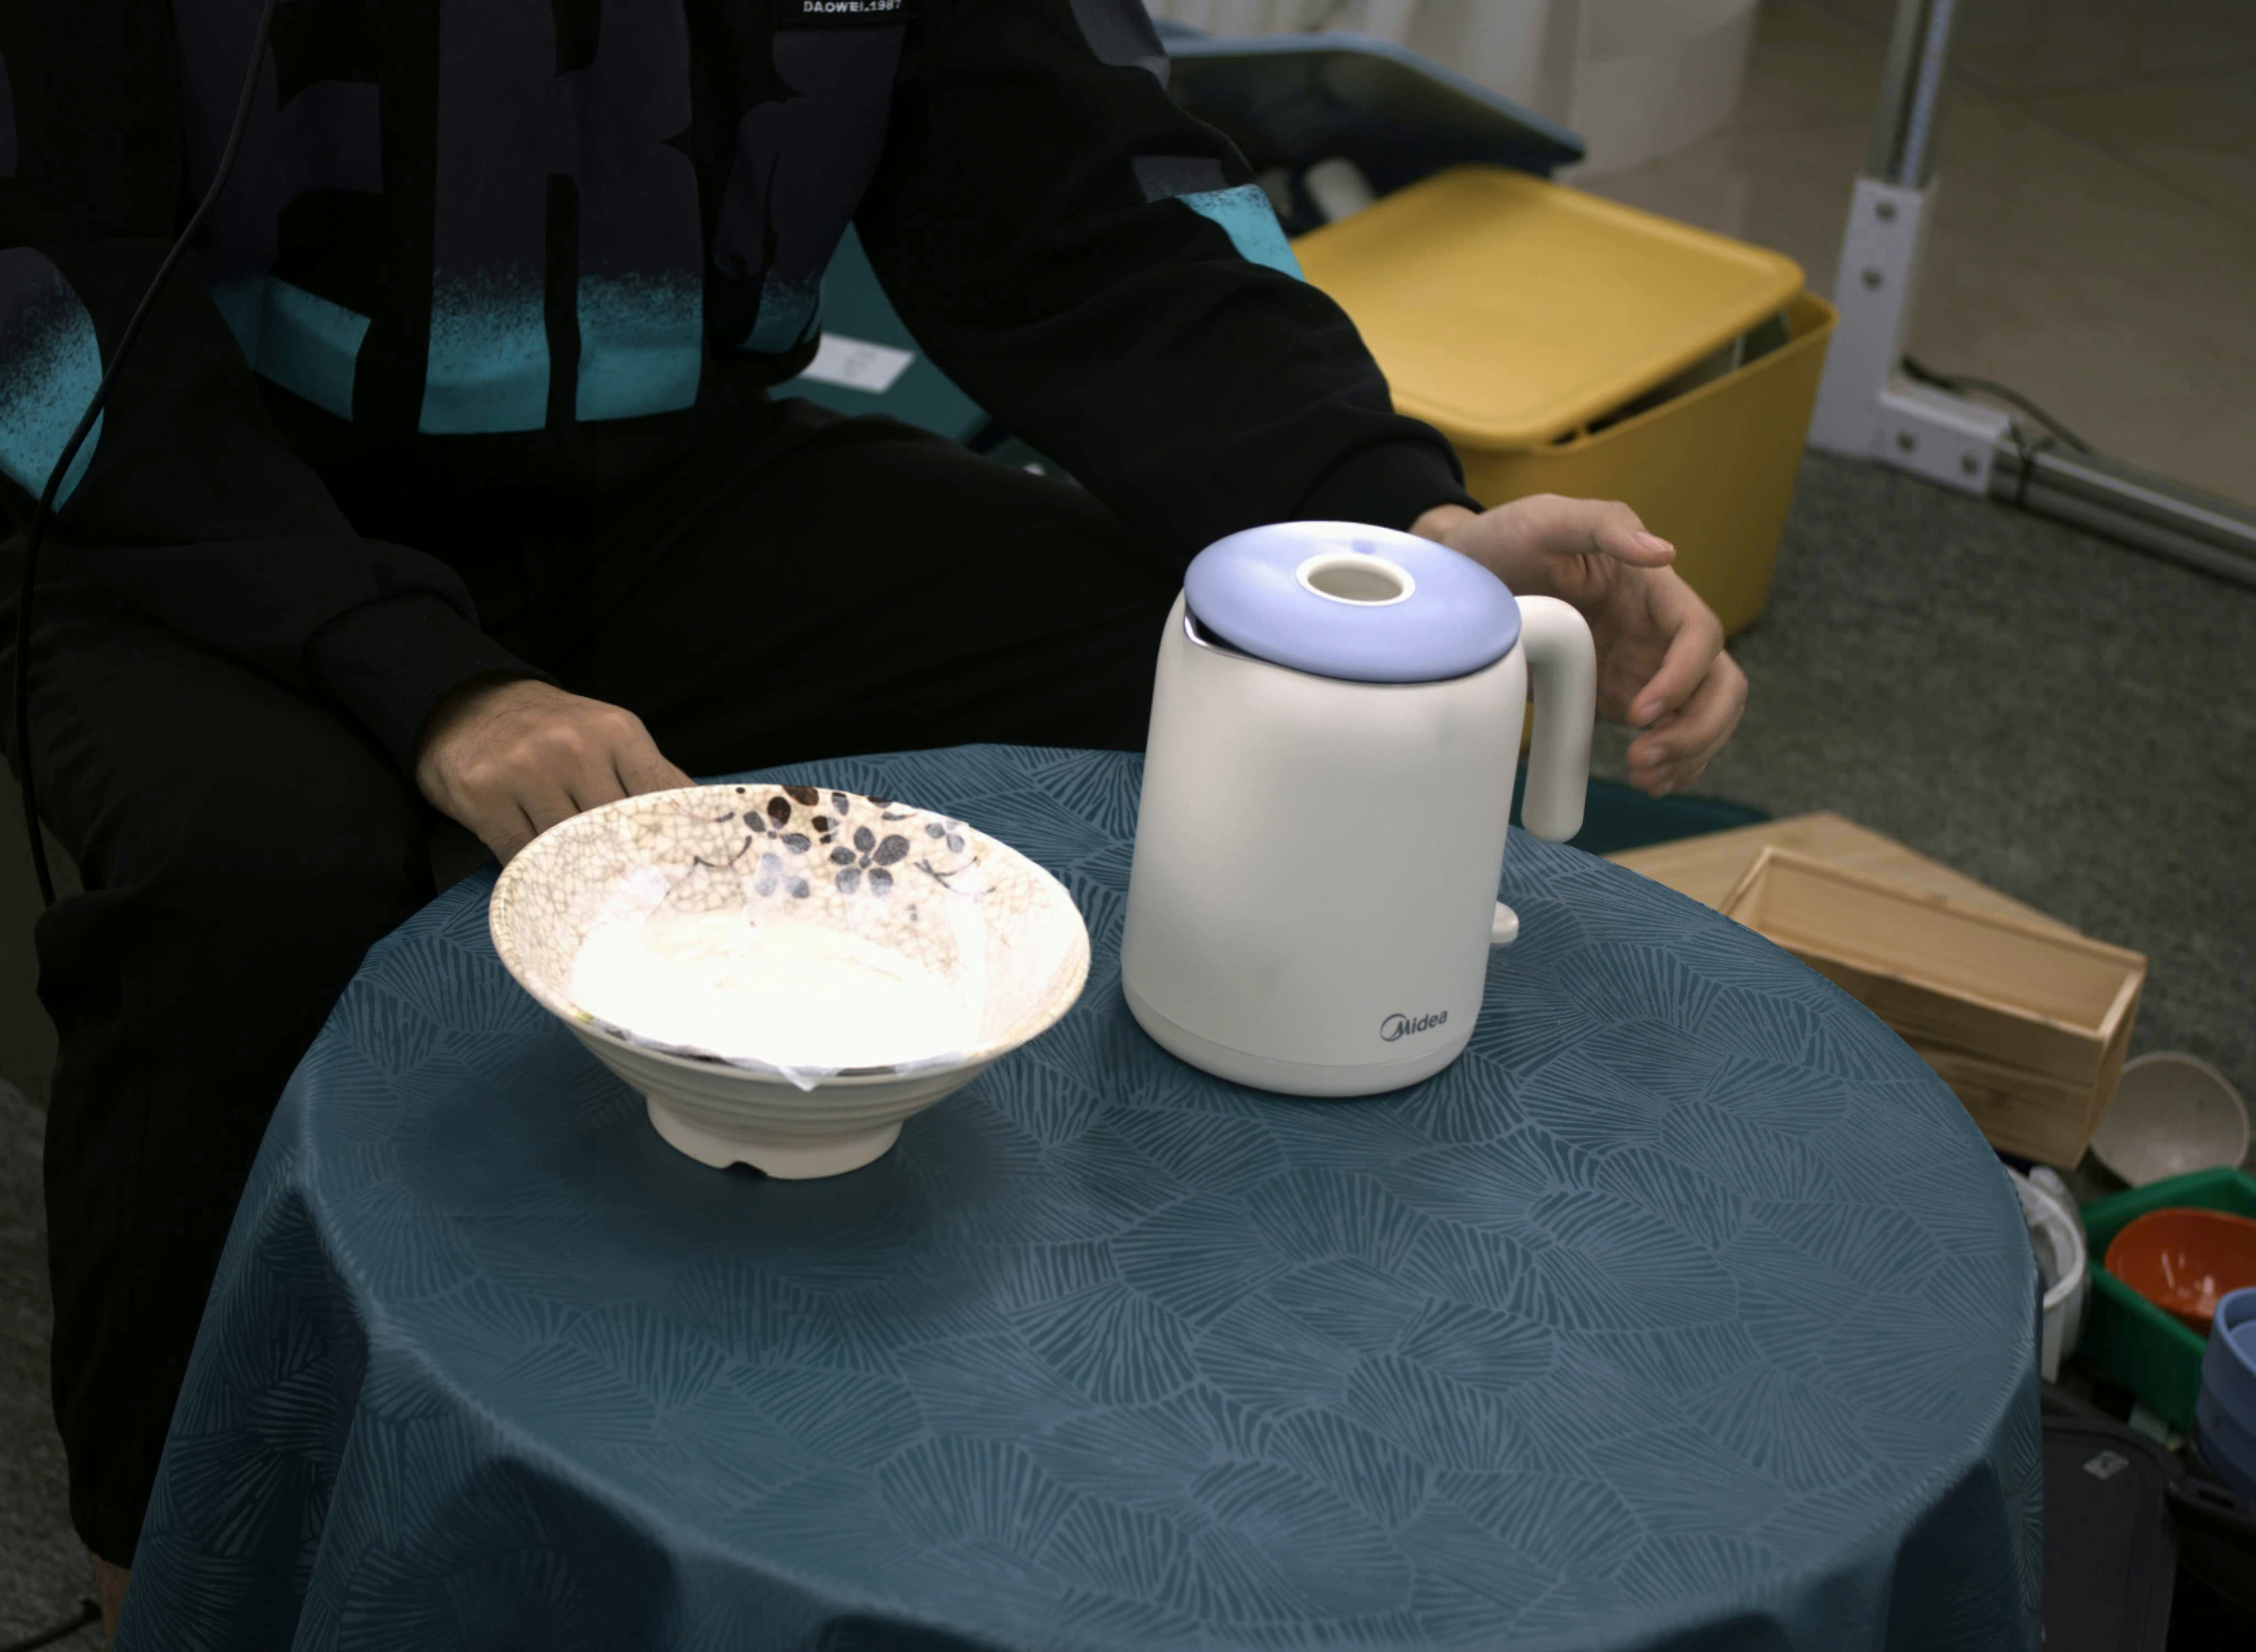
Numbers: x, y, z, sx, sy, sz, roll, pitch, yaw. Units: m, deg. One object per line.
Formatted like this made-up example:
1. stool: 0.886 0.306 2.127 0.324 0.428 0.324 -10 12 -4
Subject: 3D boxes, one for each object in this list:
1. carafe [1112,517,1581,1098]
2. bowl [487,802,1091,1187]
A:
1. carafe: 0.087 -0.011 1.896 0.190 0.182 0.133 -11 33 -36
2. bowl: -0.116 0.068 1.801 0.203 0.078 0.205 4 24 -2
